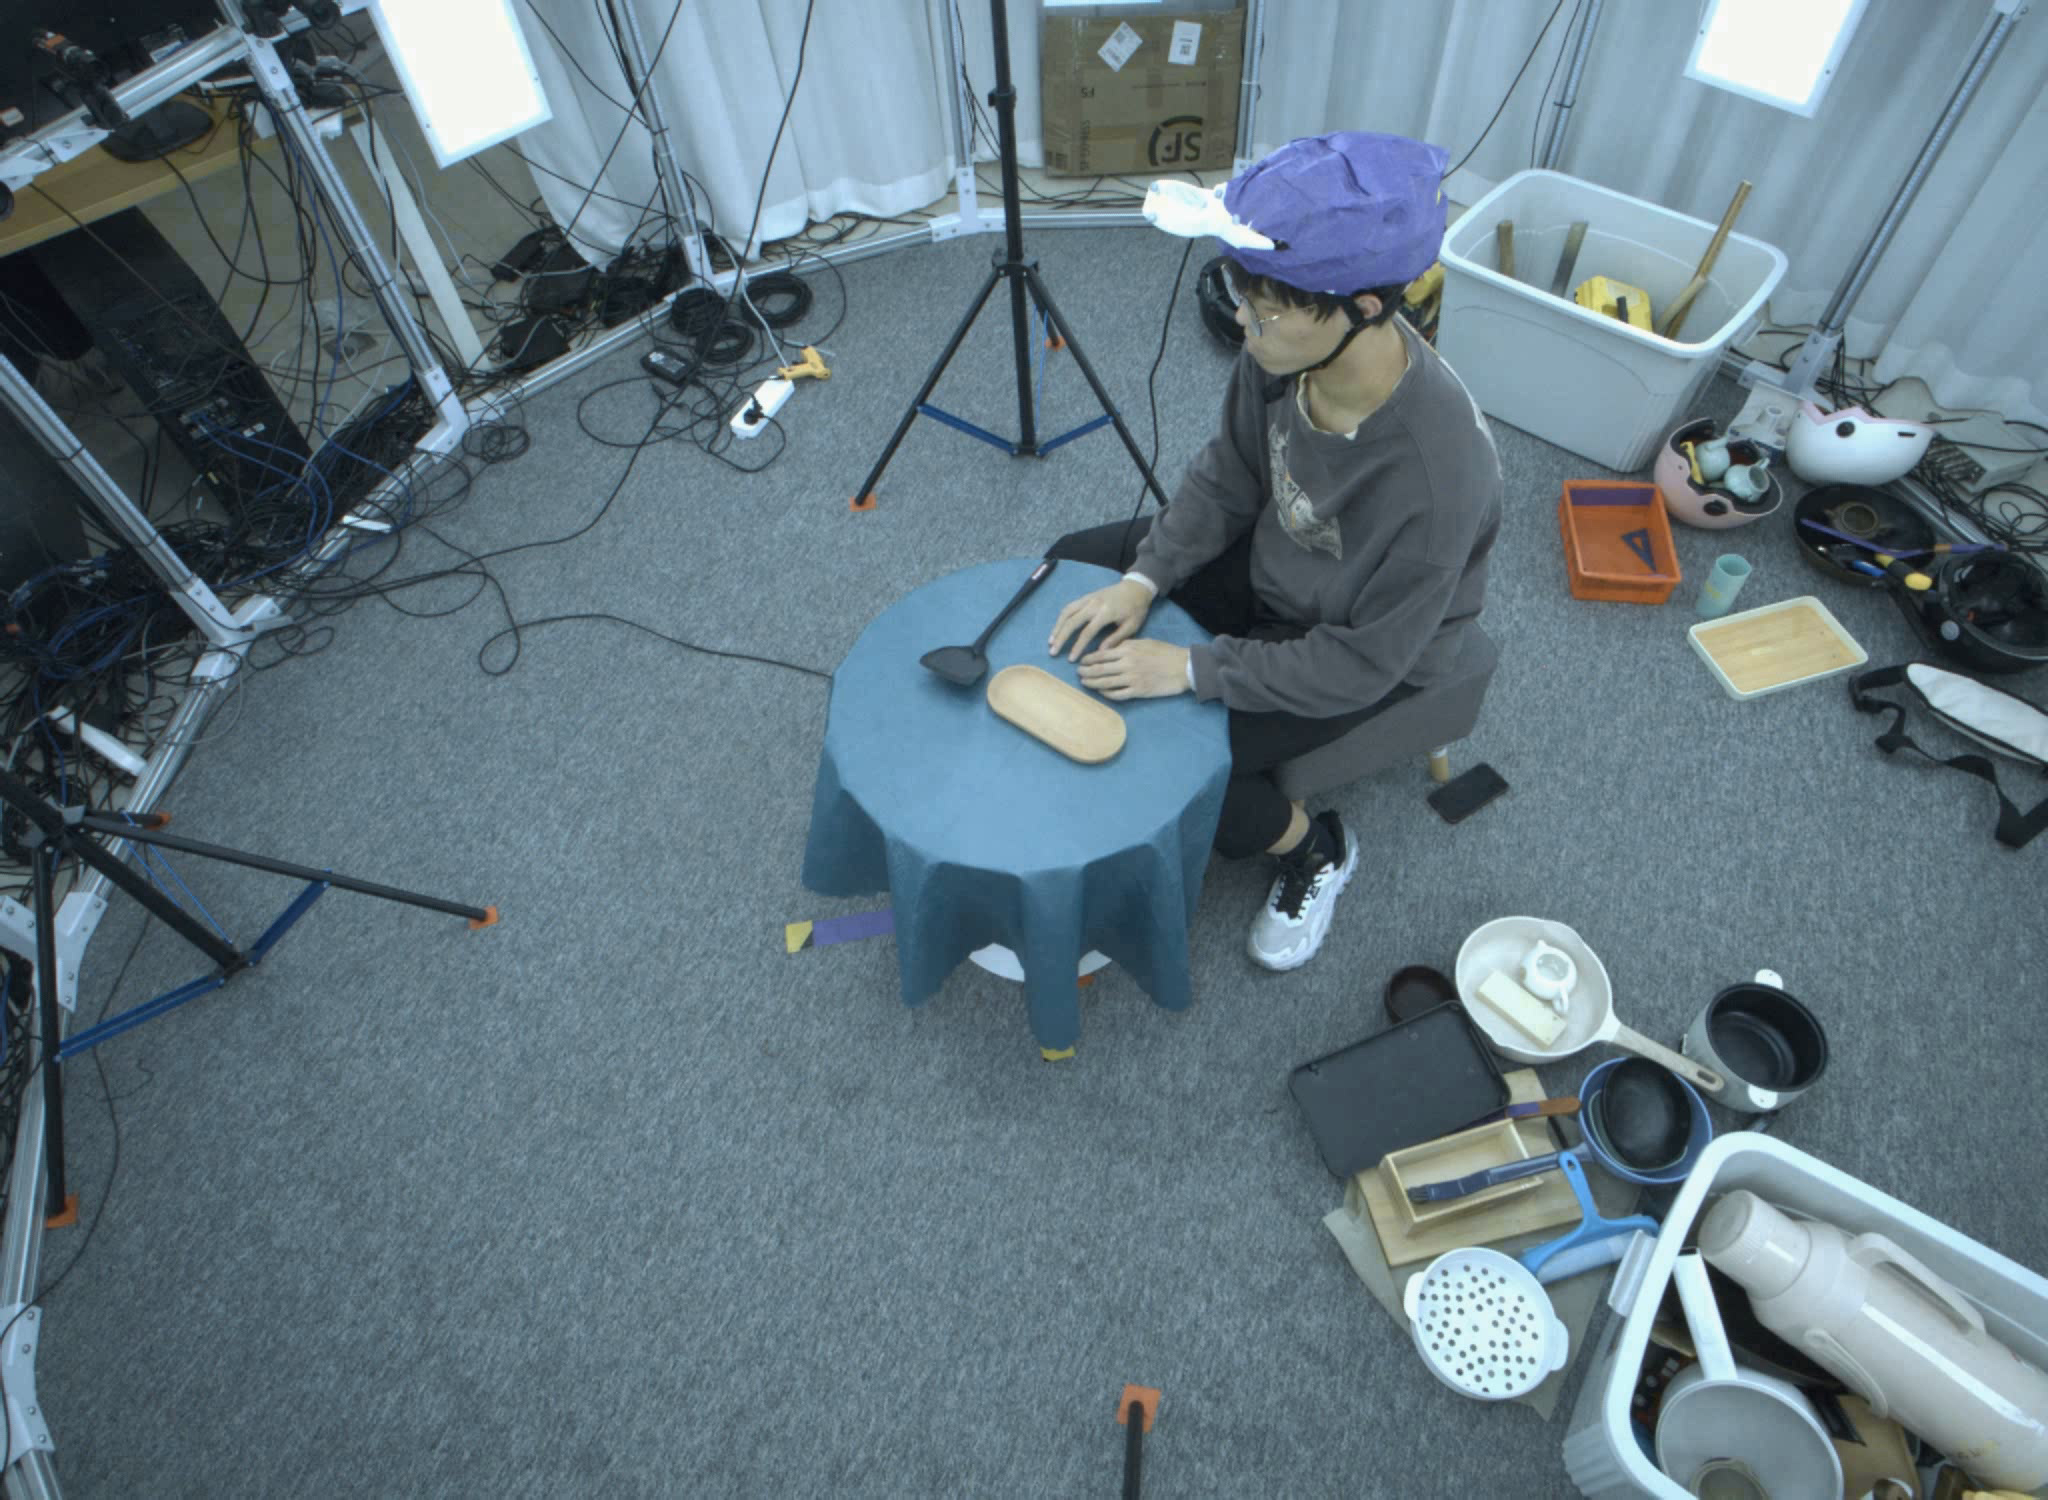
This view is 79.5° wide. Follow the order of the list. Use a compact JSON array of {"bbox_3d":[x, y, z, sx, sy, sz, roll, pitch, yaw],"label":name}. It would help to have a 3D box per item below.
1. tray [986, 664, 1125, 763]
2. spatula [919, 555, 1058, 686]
[{"bbox_3d":[0.045,-0.055,1.813,0.227,0.020,0.102,31,60,23],"label":"tray"},{"bbox_3d":[-0.036,-0.213,1.917,0.098,0.041,0.327,27,59,18],"label":"spatula"}]
